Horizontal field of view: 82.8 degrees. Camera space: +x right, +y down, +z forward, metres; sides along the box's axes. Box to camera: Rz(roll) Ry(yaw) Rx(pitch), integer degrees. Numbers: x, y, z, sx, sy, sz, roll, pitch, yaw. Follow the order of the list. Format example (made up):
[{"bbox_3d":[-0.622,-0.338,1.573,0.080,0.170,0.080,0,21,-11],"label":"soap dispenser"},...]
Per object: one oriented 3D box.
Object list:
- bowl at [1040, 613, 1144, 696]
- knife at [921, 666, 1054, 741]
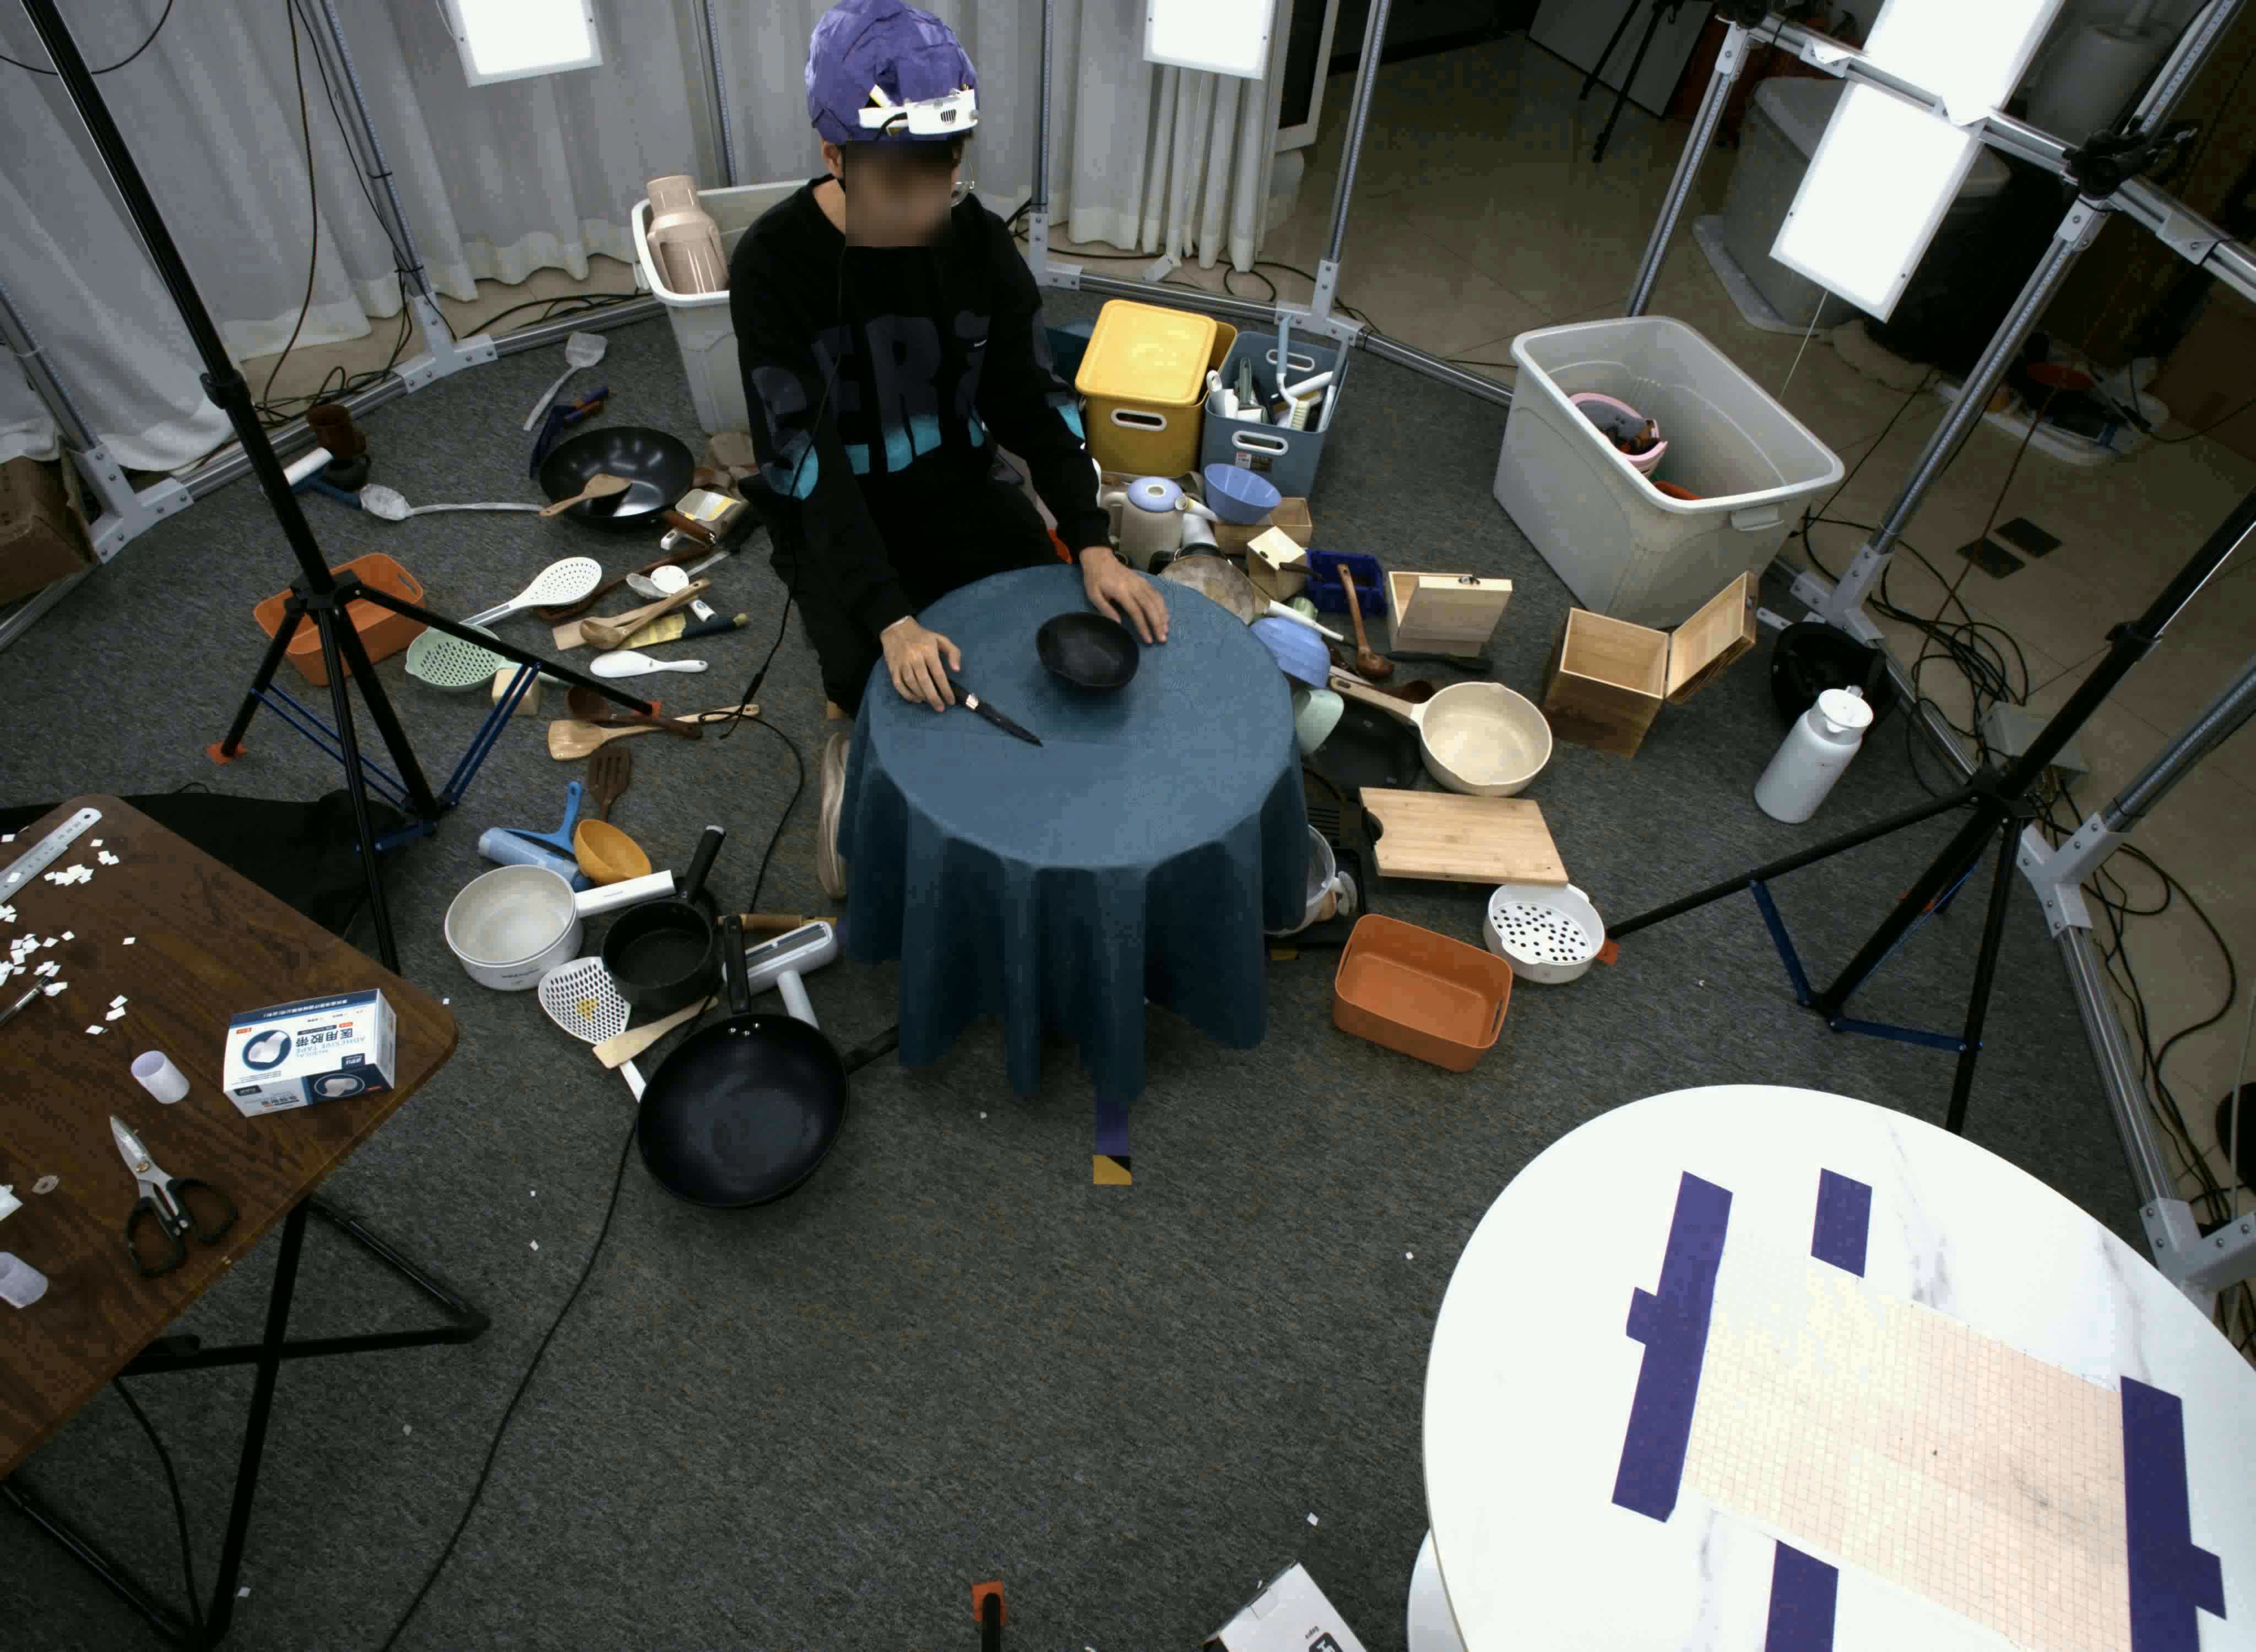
[{"bbox_3d":[-0.054,-0.235,1.827,0.138,0.065,0.173,-26,54,-25],"label":"bowl"},{"bbox_3d":[-0.198,-0.169,1.795,0.228,0.017,0.026,31,56,20],"label":"knife"}]
